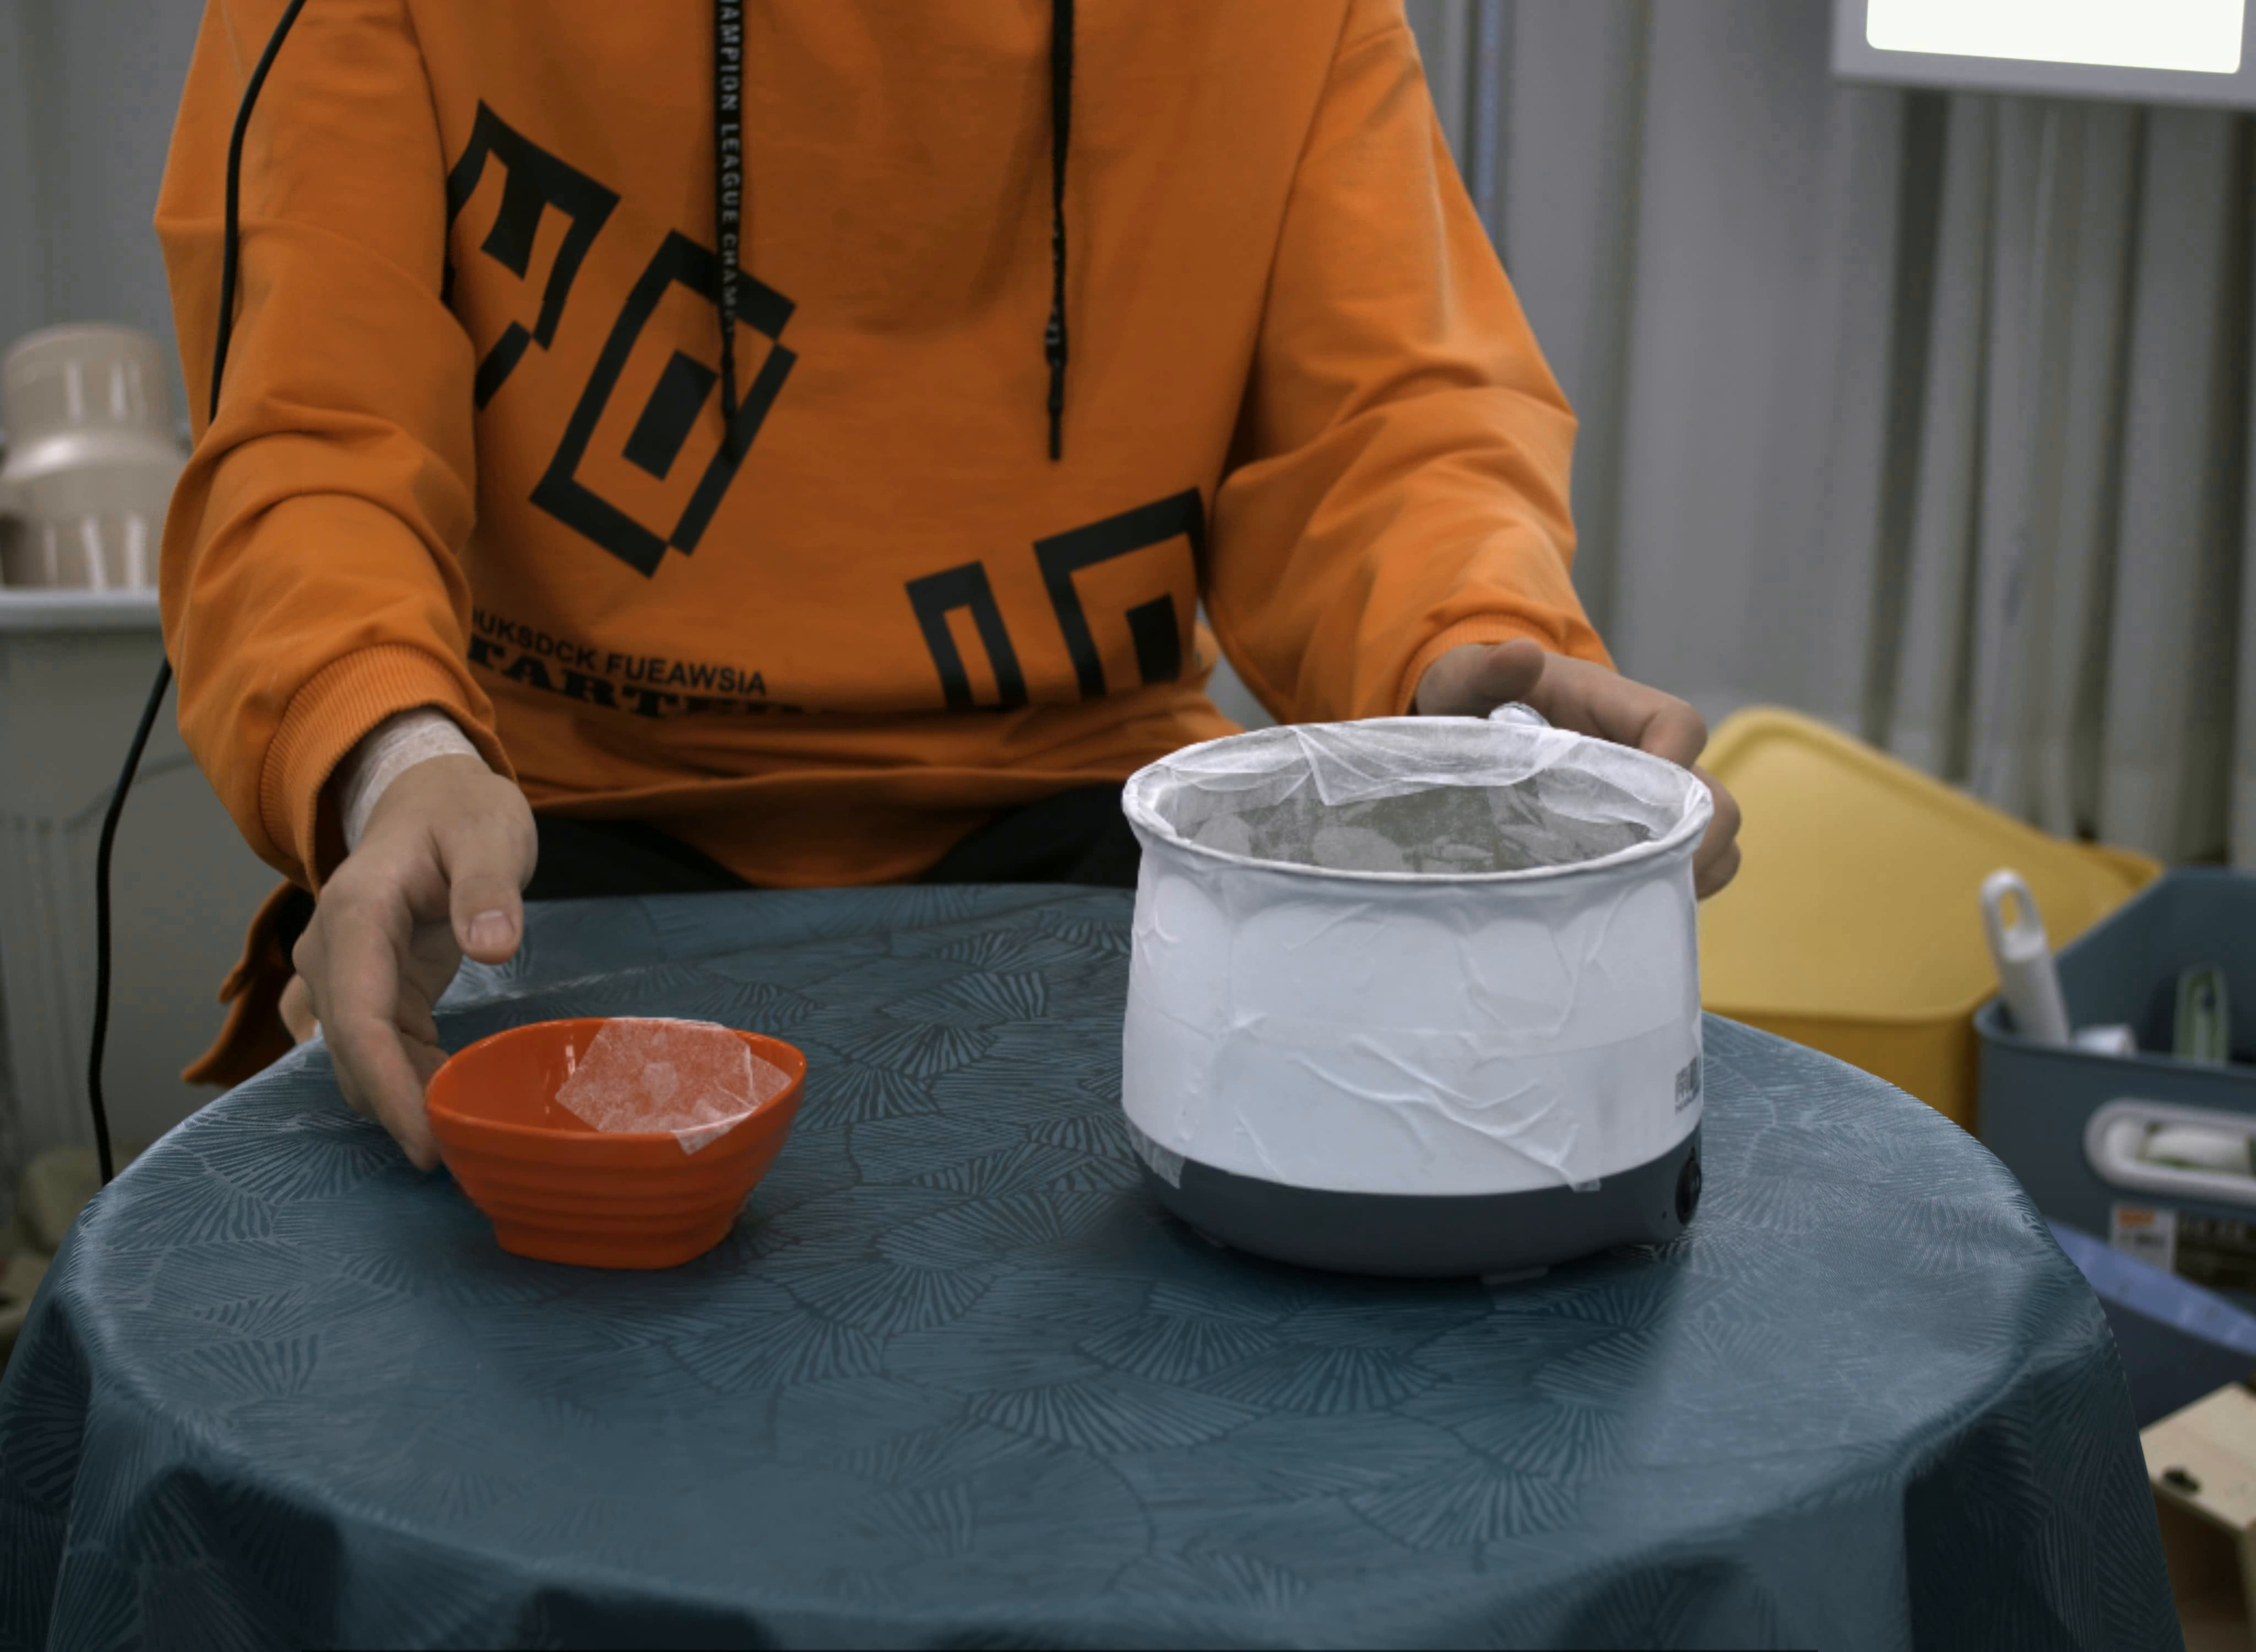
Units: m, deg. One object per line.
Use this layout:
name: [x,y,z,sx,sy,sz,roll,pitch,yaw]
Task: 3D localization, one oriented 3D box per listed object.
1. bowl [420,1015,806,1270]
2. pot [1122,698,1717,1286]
bowl: [-0.153,0.097,1.578,0.118,0.052,0.118,0,16,1]
pot: [0.096,0.044,1.614,0.177,0.138,0.234,6,17,18]
